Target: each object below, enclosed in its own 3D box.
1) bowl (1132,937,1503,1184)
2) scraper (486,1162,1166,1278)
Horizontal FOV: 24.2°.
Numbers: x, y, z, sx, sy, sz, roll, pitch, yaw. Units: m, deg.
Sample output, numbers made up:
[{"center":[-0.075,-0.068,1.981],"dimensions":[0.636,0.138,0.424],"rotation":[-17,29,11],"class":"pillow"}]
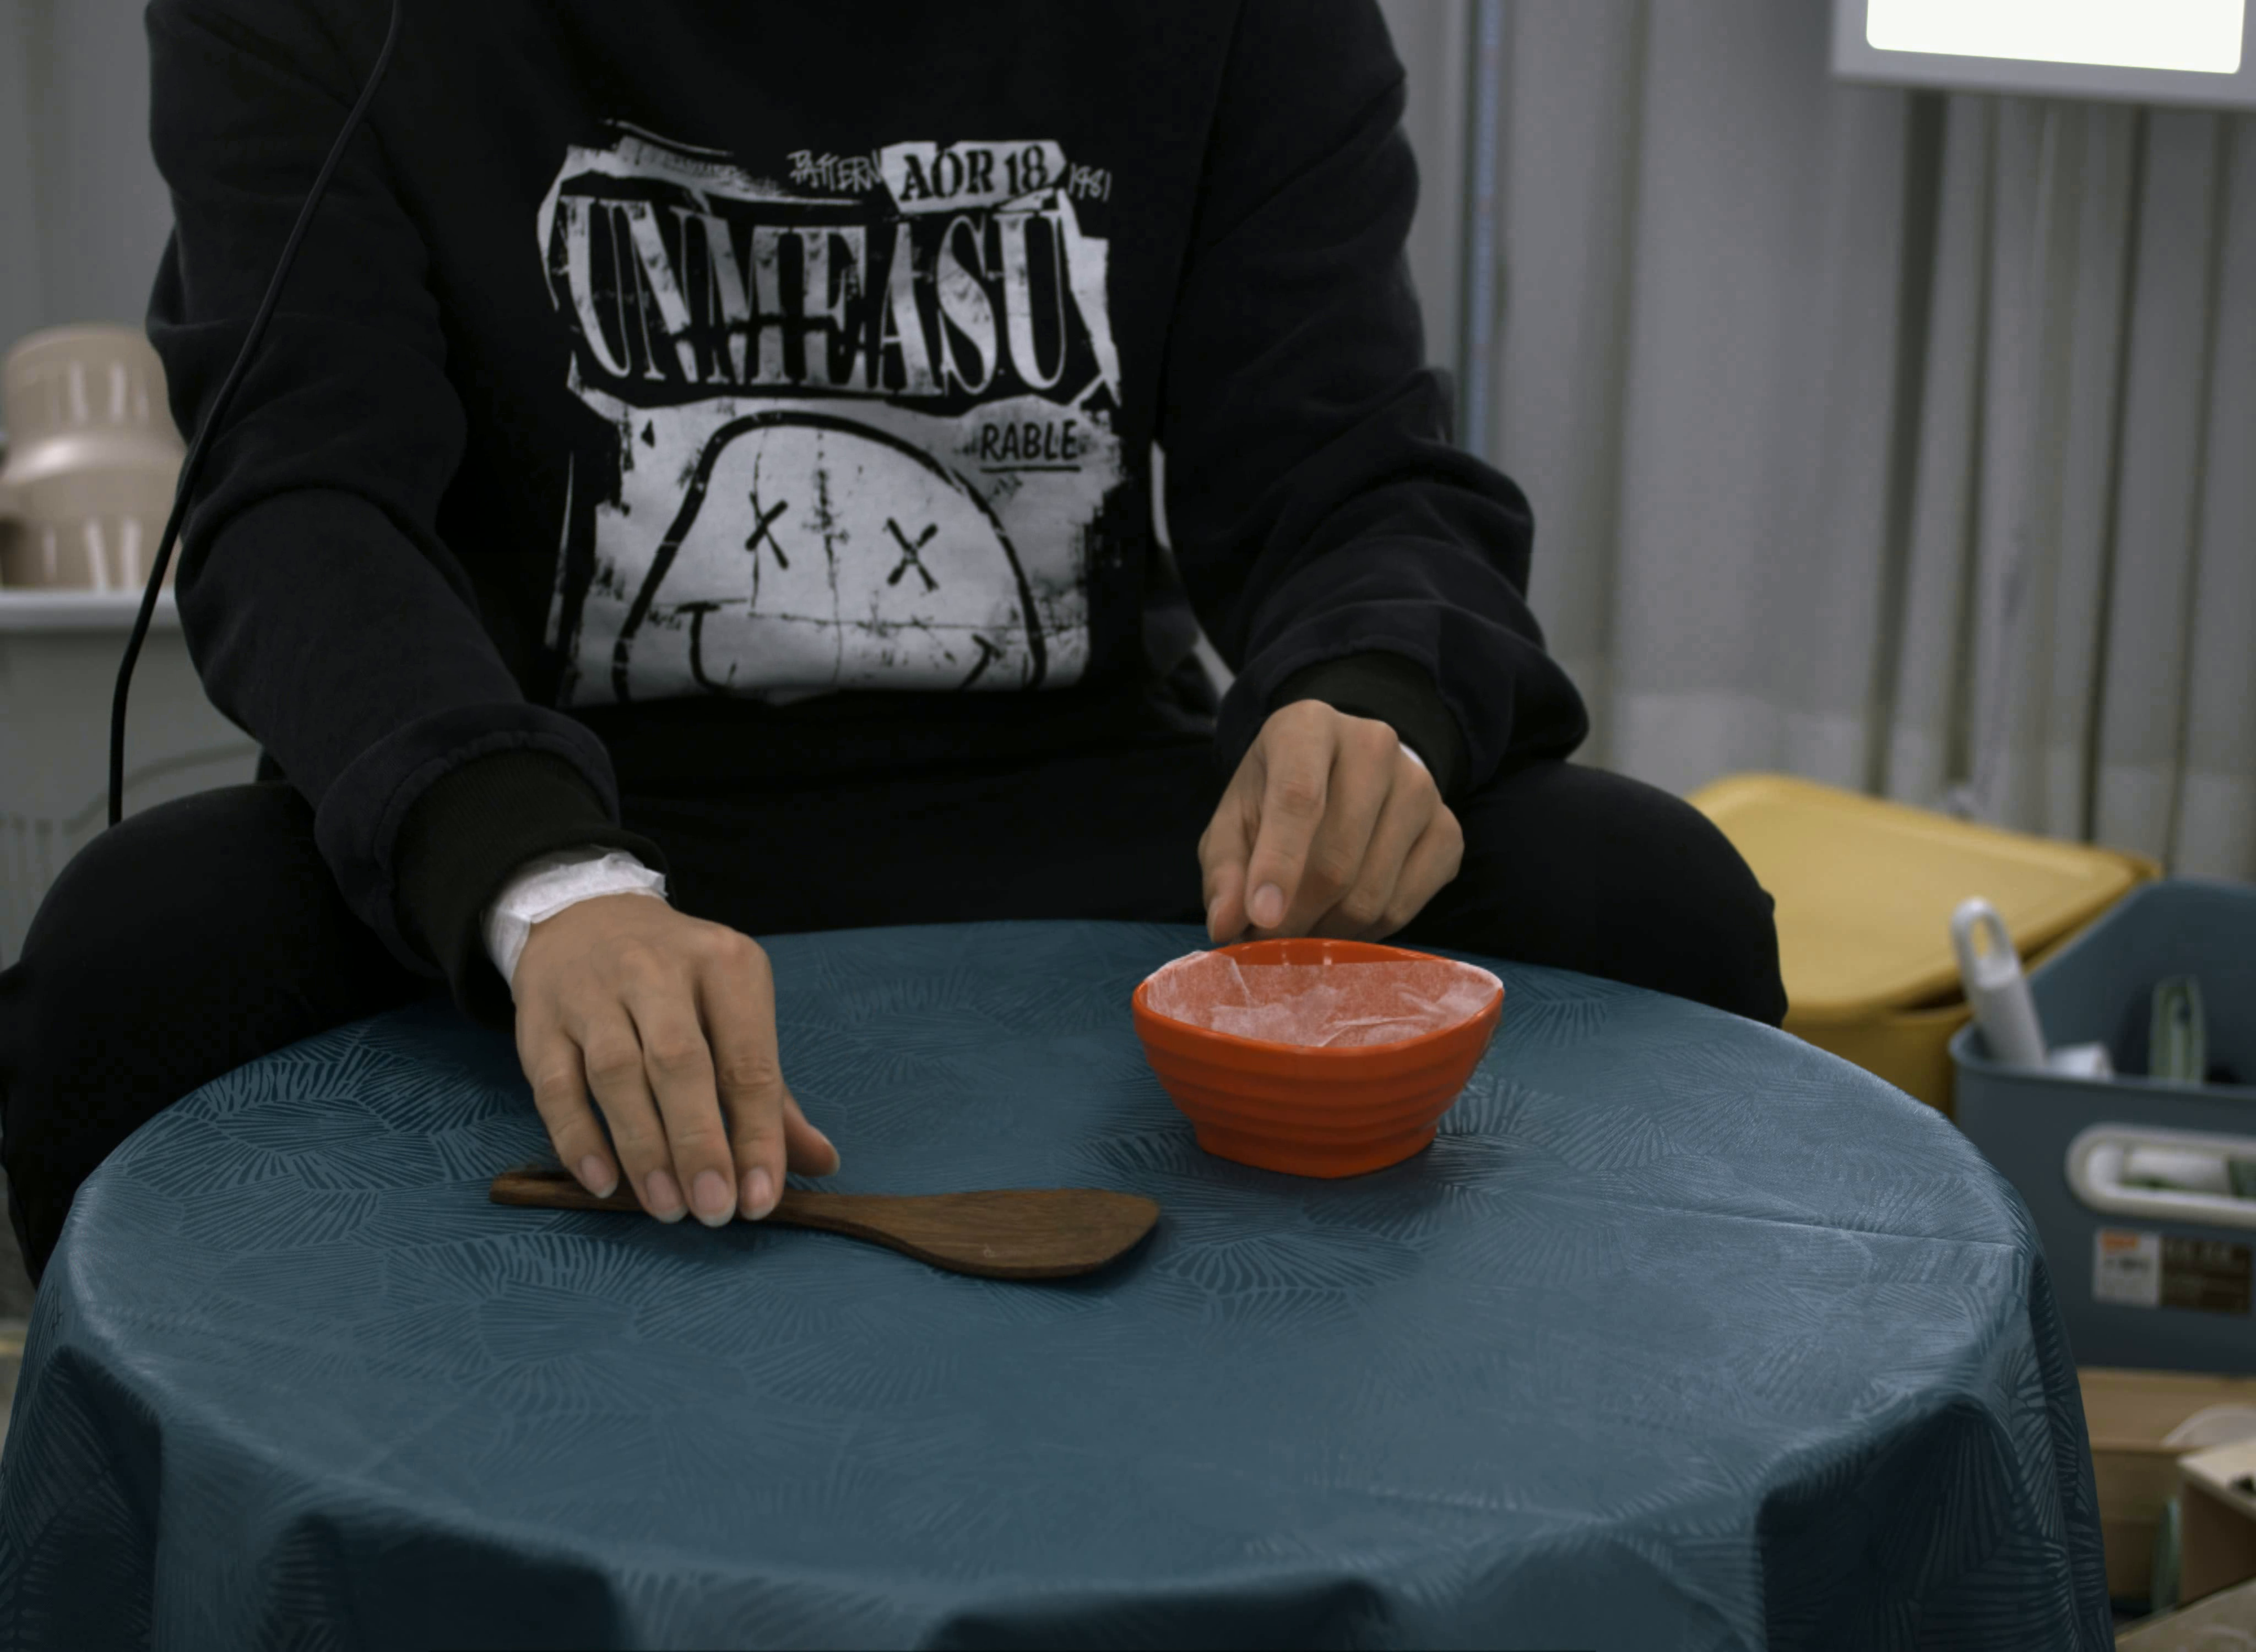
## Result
[{"center":[0.060,0.076,1.667],"dimensions":[0.118,0.052,0.118],"rotation":[0,17,1],"class":"bowl"},{"center":[-0.094,0.116,1.595],"dimensions":[0.209,0.011,0.076],"rotation":[4,15,15],"class":"scraper"}]
